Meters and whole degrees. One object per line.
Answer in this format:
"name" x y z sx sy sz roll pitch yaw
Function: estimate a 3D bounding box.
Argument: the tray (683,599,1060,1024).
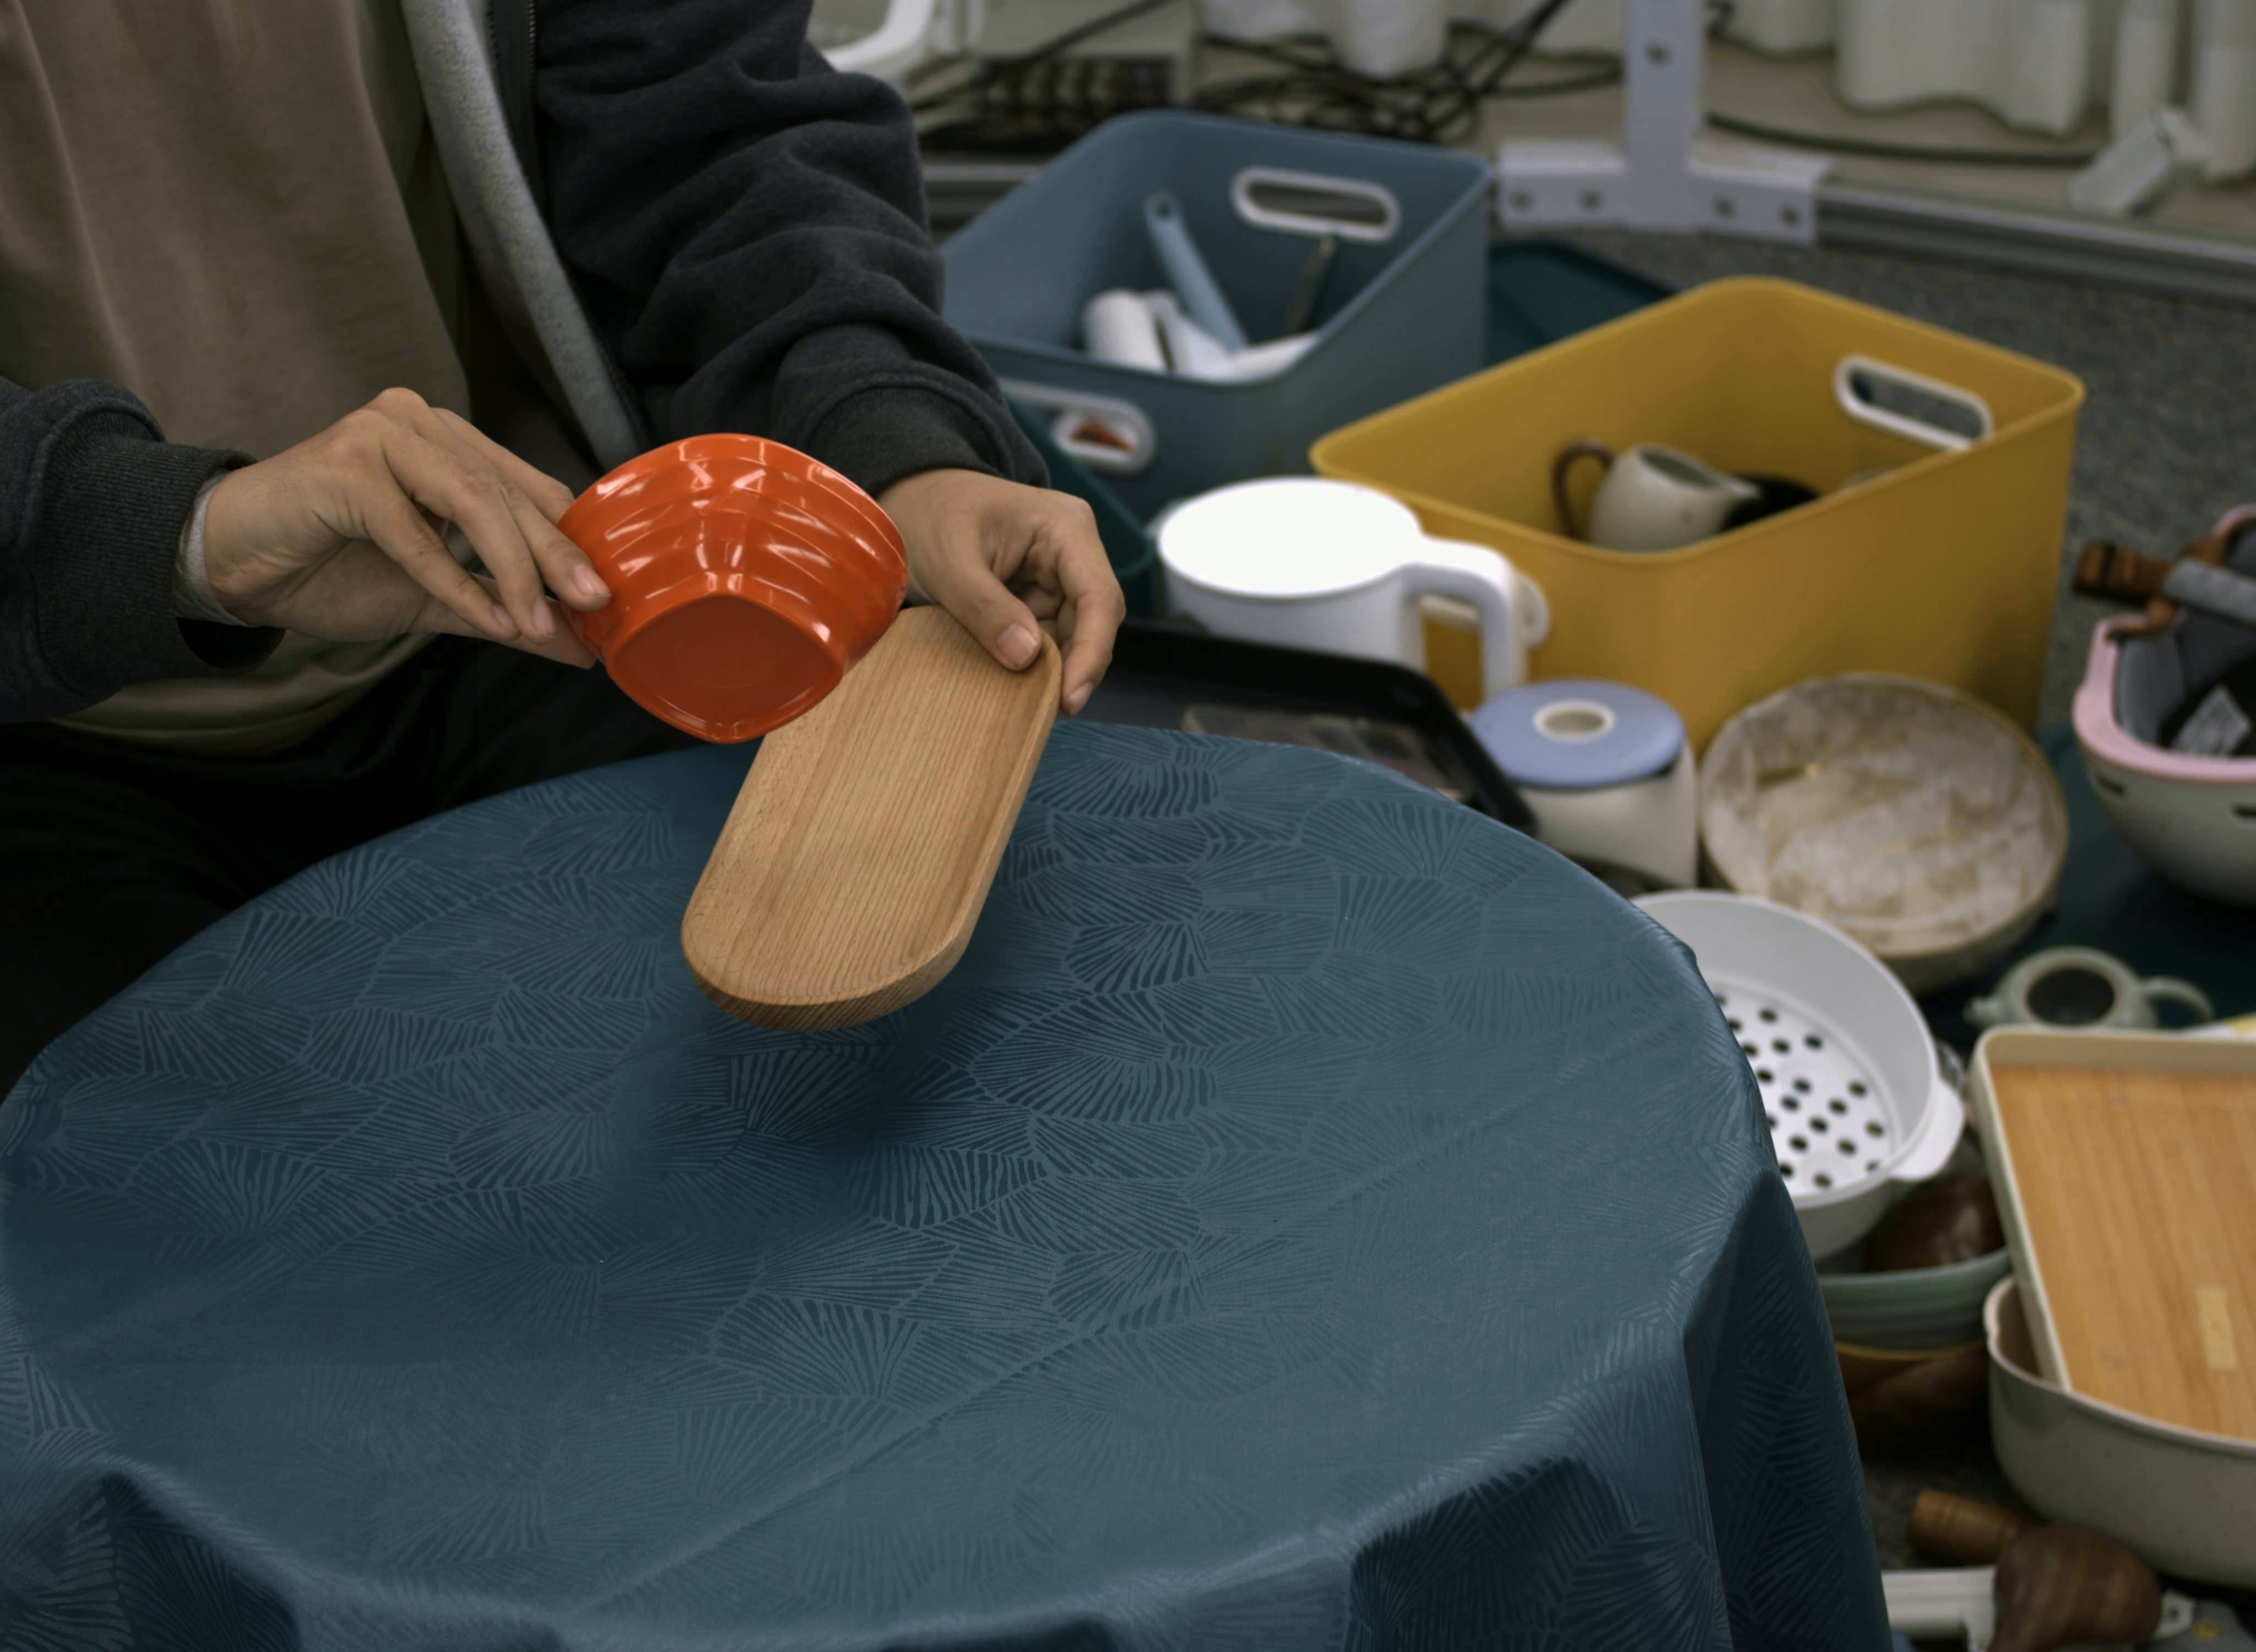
"tray" -0.087 -0.007 1.947 0.101 0.020 0.236 1 35 13

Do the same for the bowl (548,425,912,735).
"bowl" -0.130 -0.072 1.823 0.118 0.117 0.052 -2 52 1
